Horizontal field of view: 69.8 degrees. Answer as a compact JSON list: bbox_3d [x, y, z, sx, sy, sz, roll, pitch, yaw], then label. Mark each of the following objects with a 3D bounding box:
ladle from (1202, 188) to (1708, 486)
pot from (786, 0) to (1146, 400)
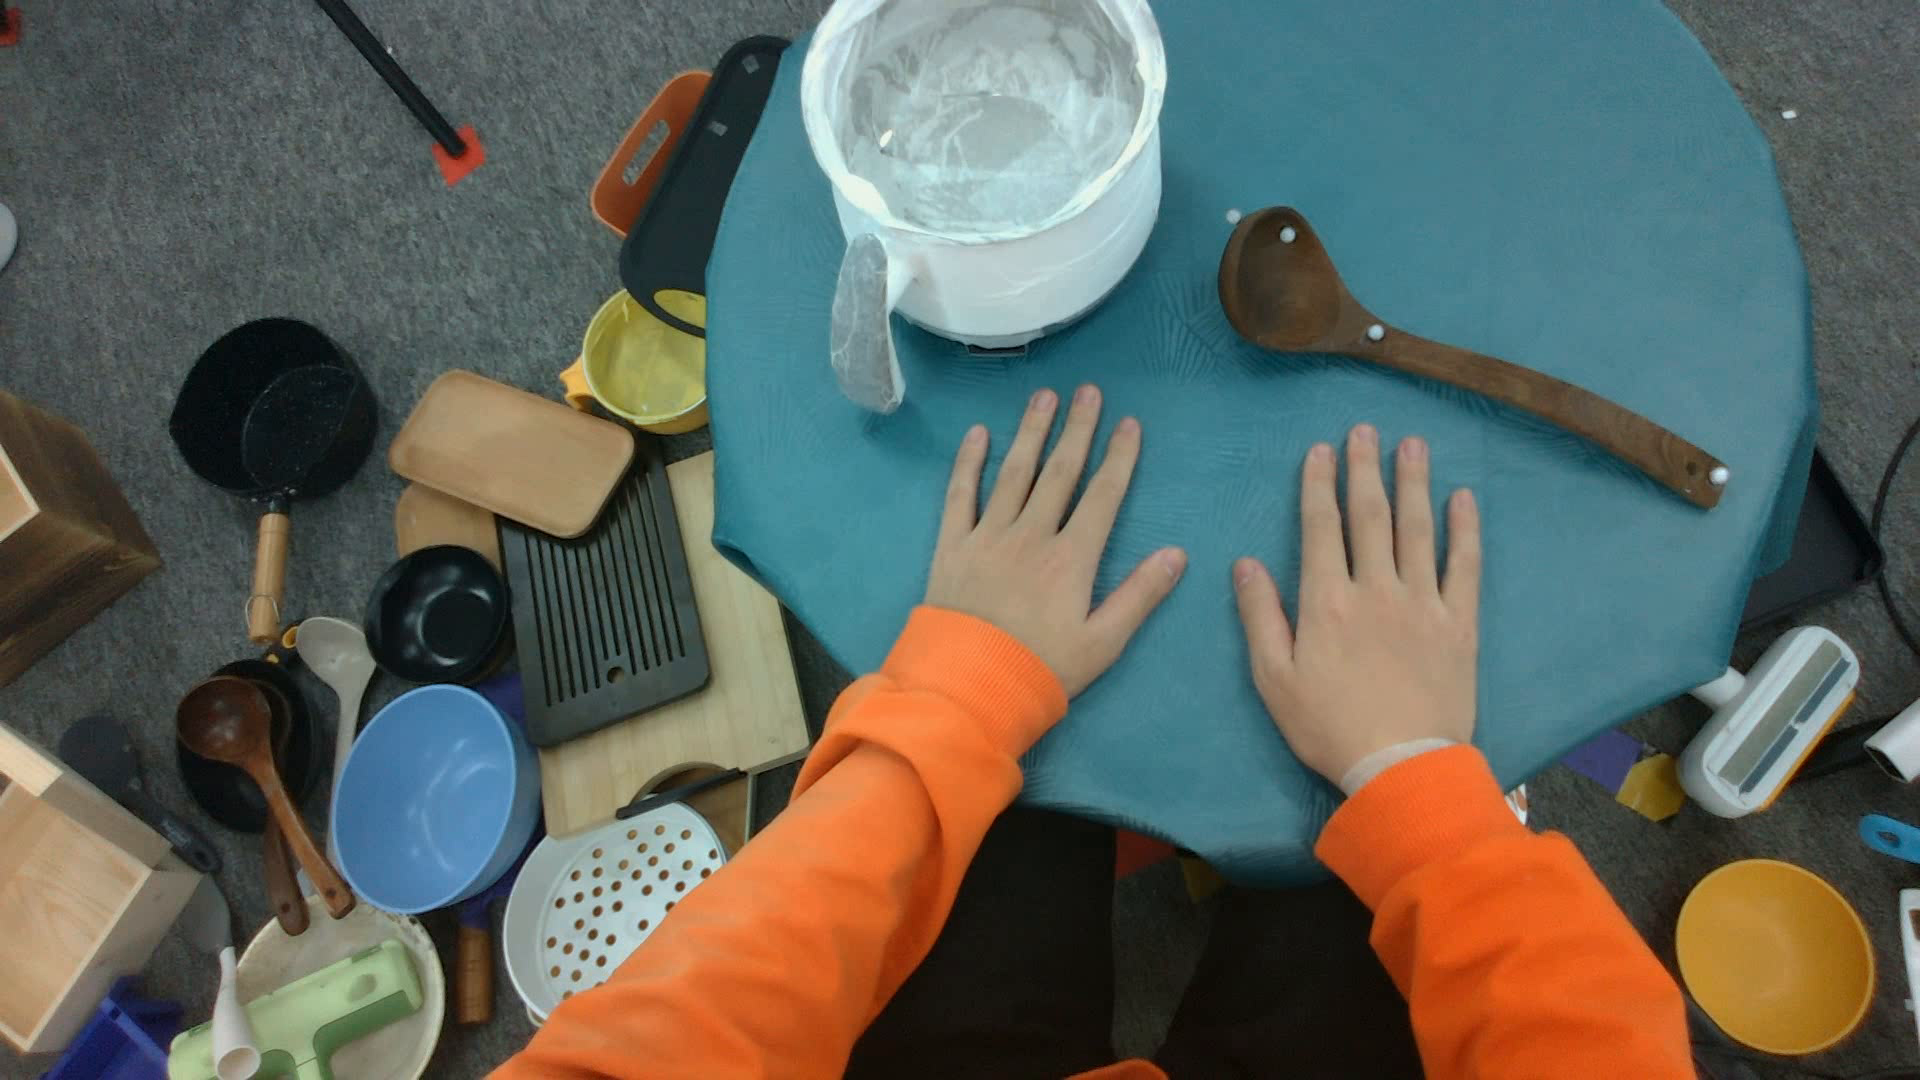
[{"bbox_3d":[0.254,-0.102,0.702,0.274,0.071,0.076,25,79,14],"label":"ladle"},{"bbox_3d":[-0.005,-0.187,0.722,0.178,0.136,0.234,27,78,14],"label":"pot"}]
